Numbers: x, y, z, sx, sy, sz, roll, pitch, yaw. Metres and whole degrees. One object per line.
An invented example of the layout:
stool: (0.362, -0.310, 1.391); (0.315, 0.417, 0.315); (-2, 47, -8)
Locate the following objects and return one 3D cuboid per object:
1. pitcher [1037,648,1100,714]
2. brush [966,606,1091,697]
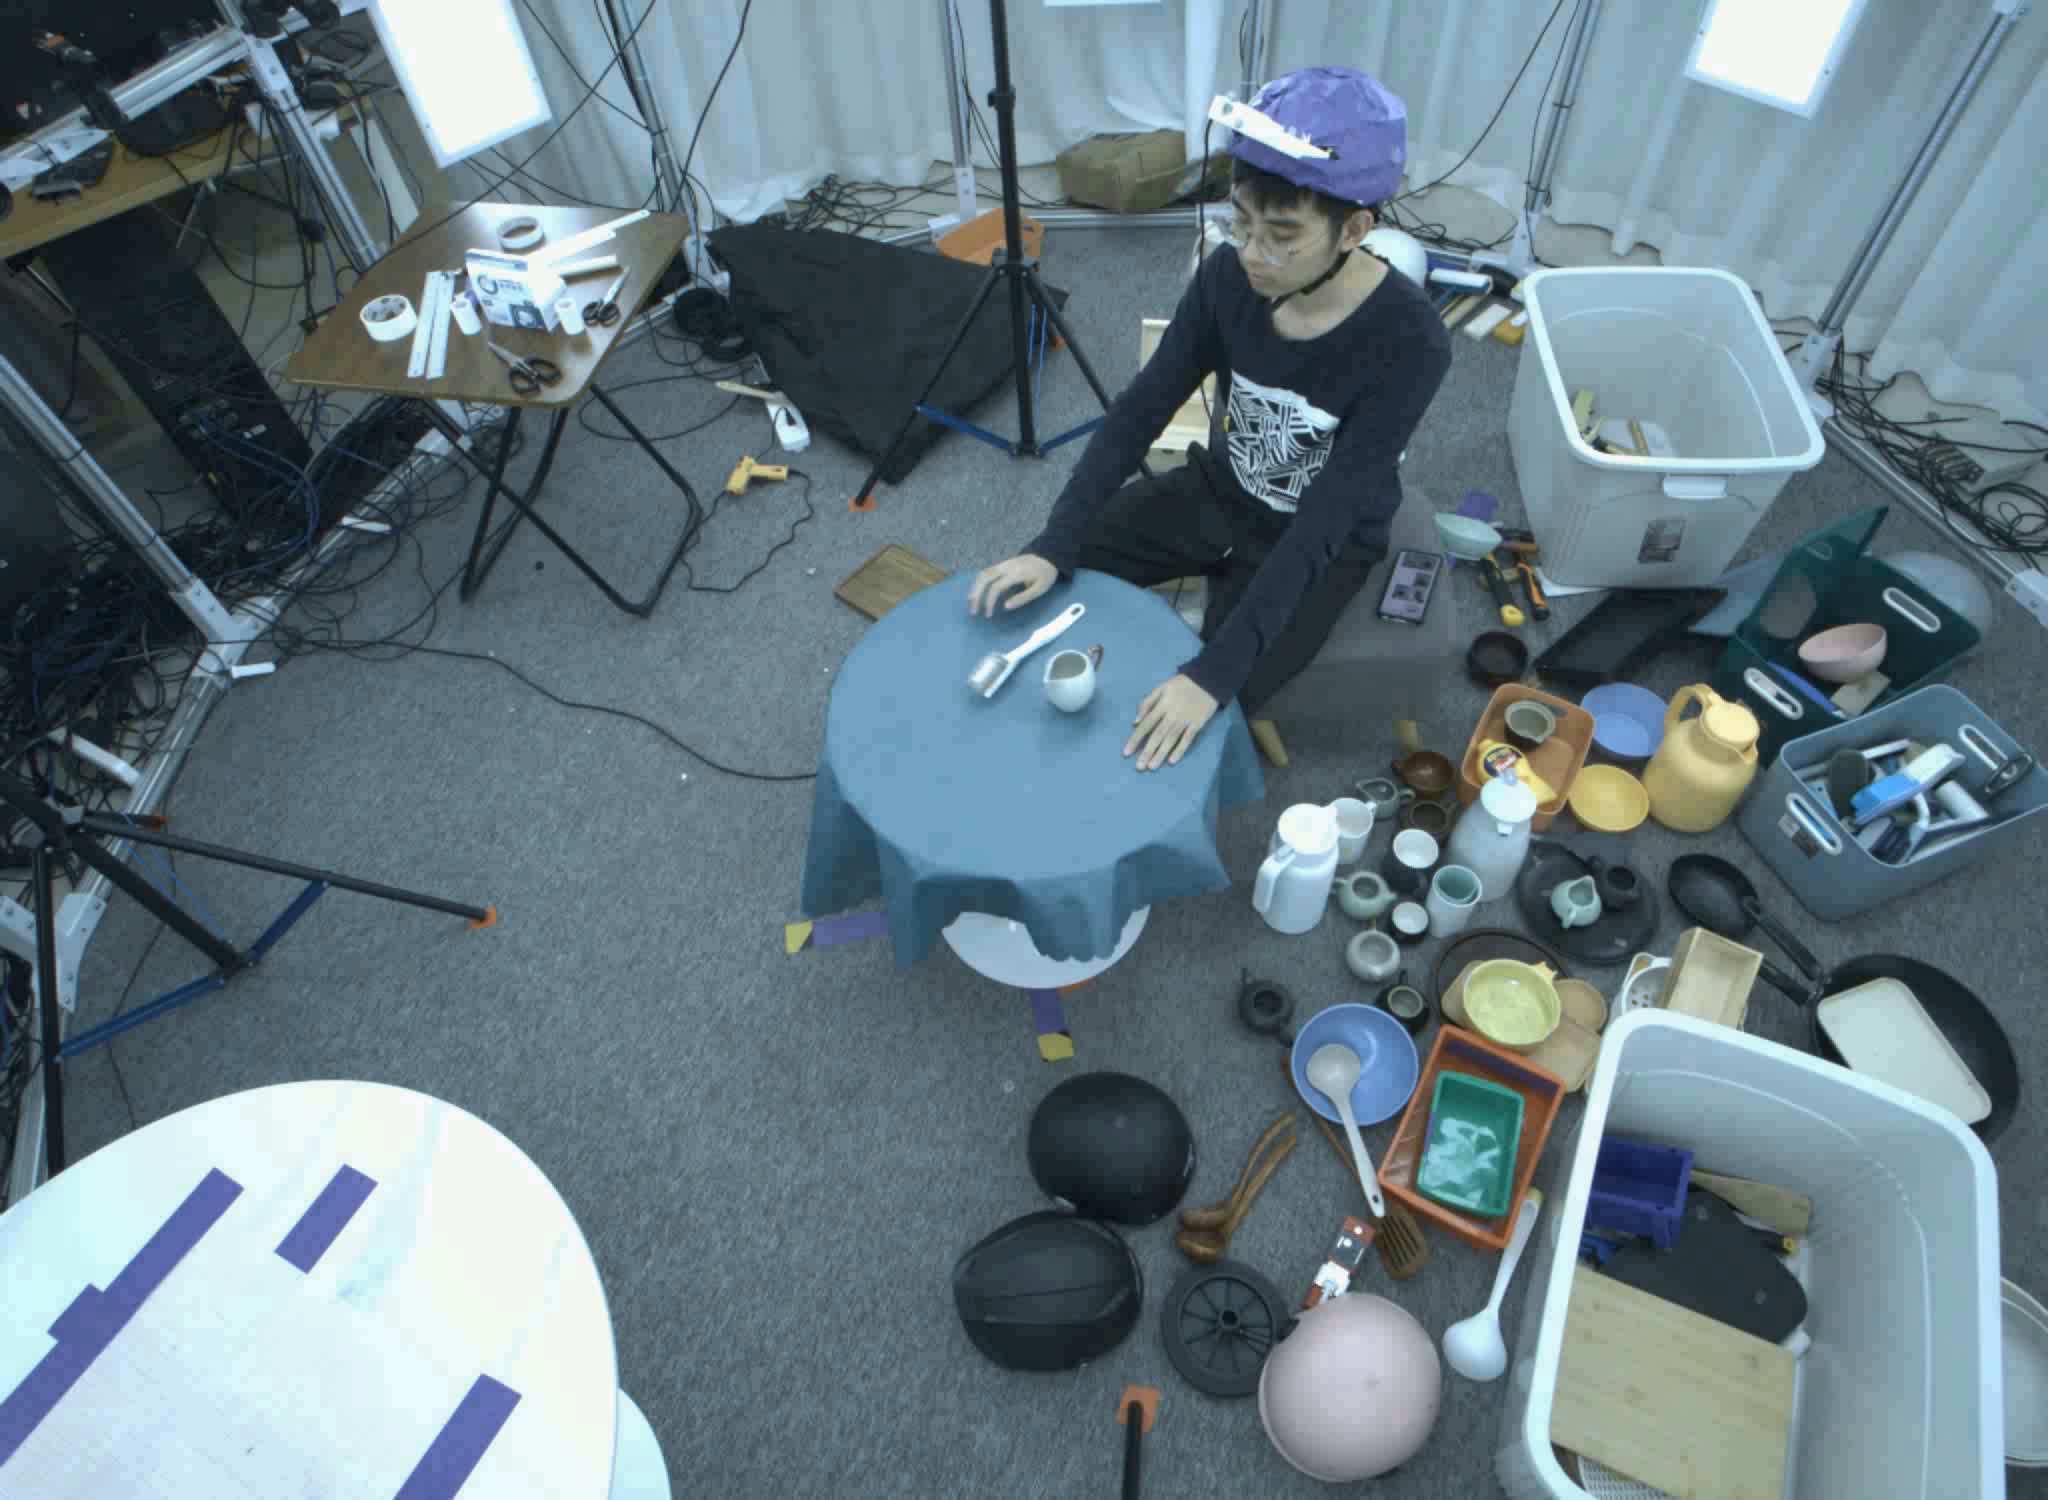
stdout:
pitcher: (0.066, -0.099, 1.793); (0.120, 0.089, 0.074); (-38, 65, -19)
brush: (0.010, -0.163, 1.866); (0.245, 0.051, 0.033); (-39, 56, -22)
